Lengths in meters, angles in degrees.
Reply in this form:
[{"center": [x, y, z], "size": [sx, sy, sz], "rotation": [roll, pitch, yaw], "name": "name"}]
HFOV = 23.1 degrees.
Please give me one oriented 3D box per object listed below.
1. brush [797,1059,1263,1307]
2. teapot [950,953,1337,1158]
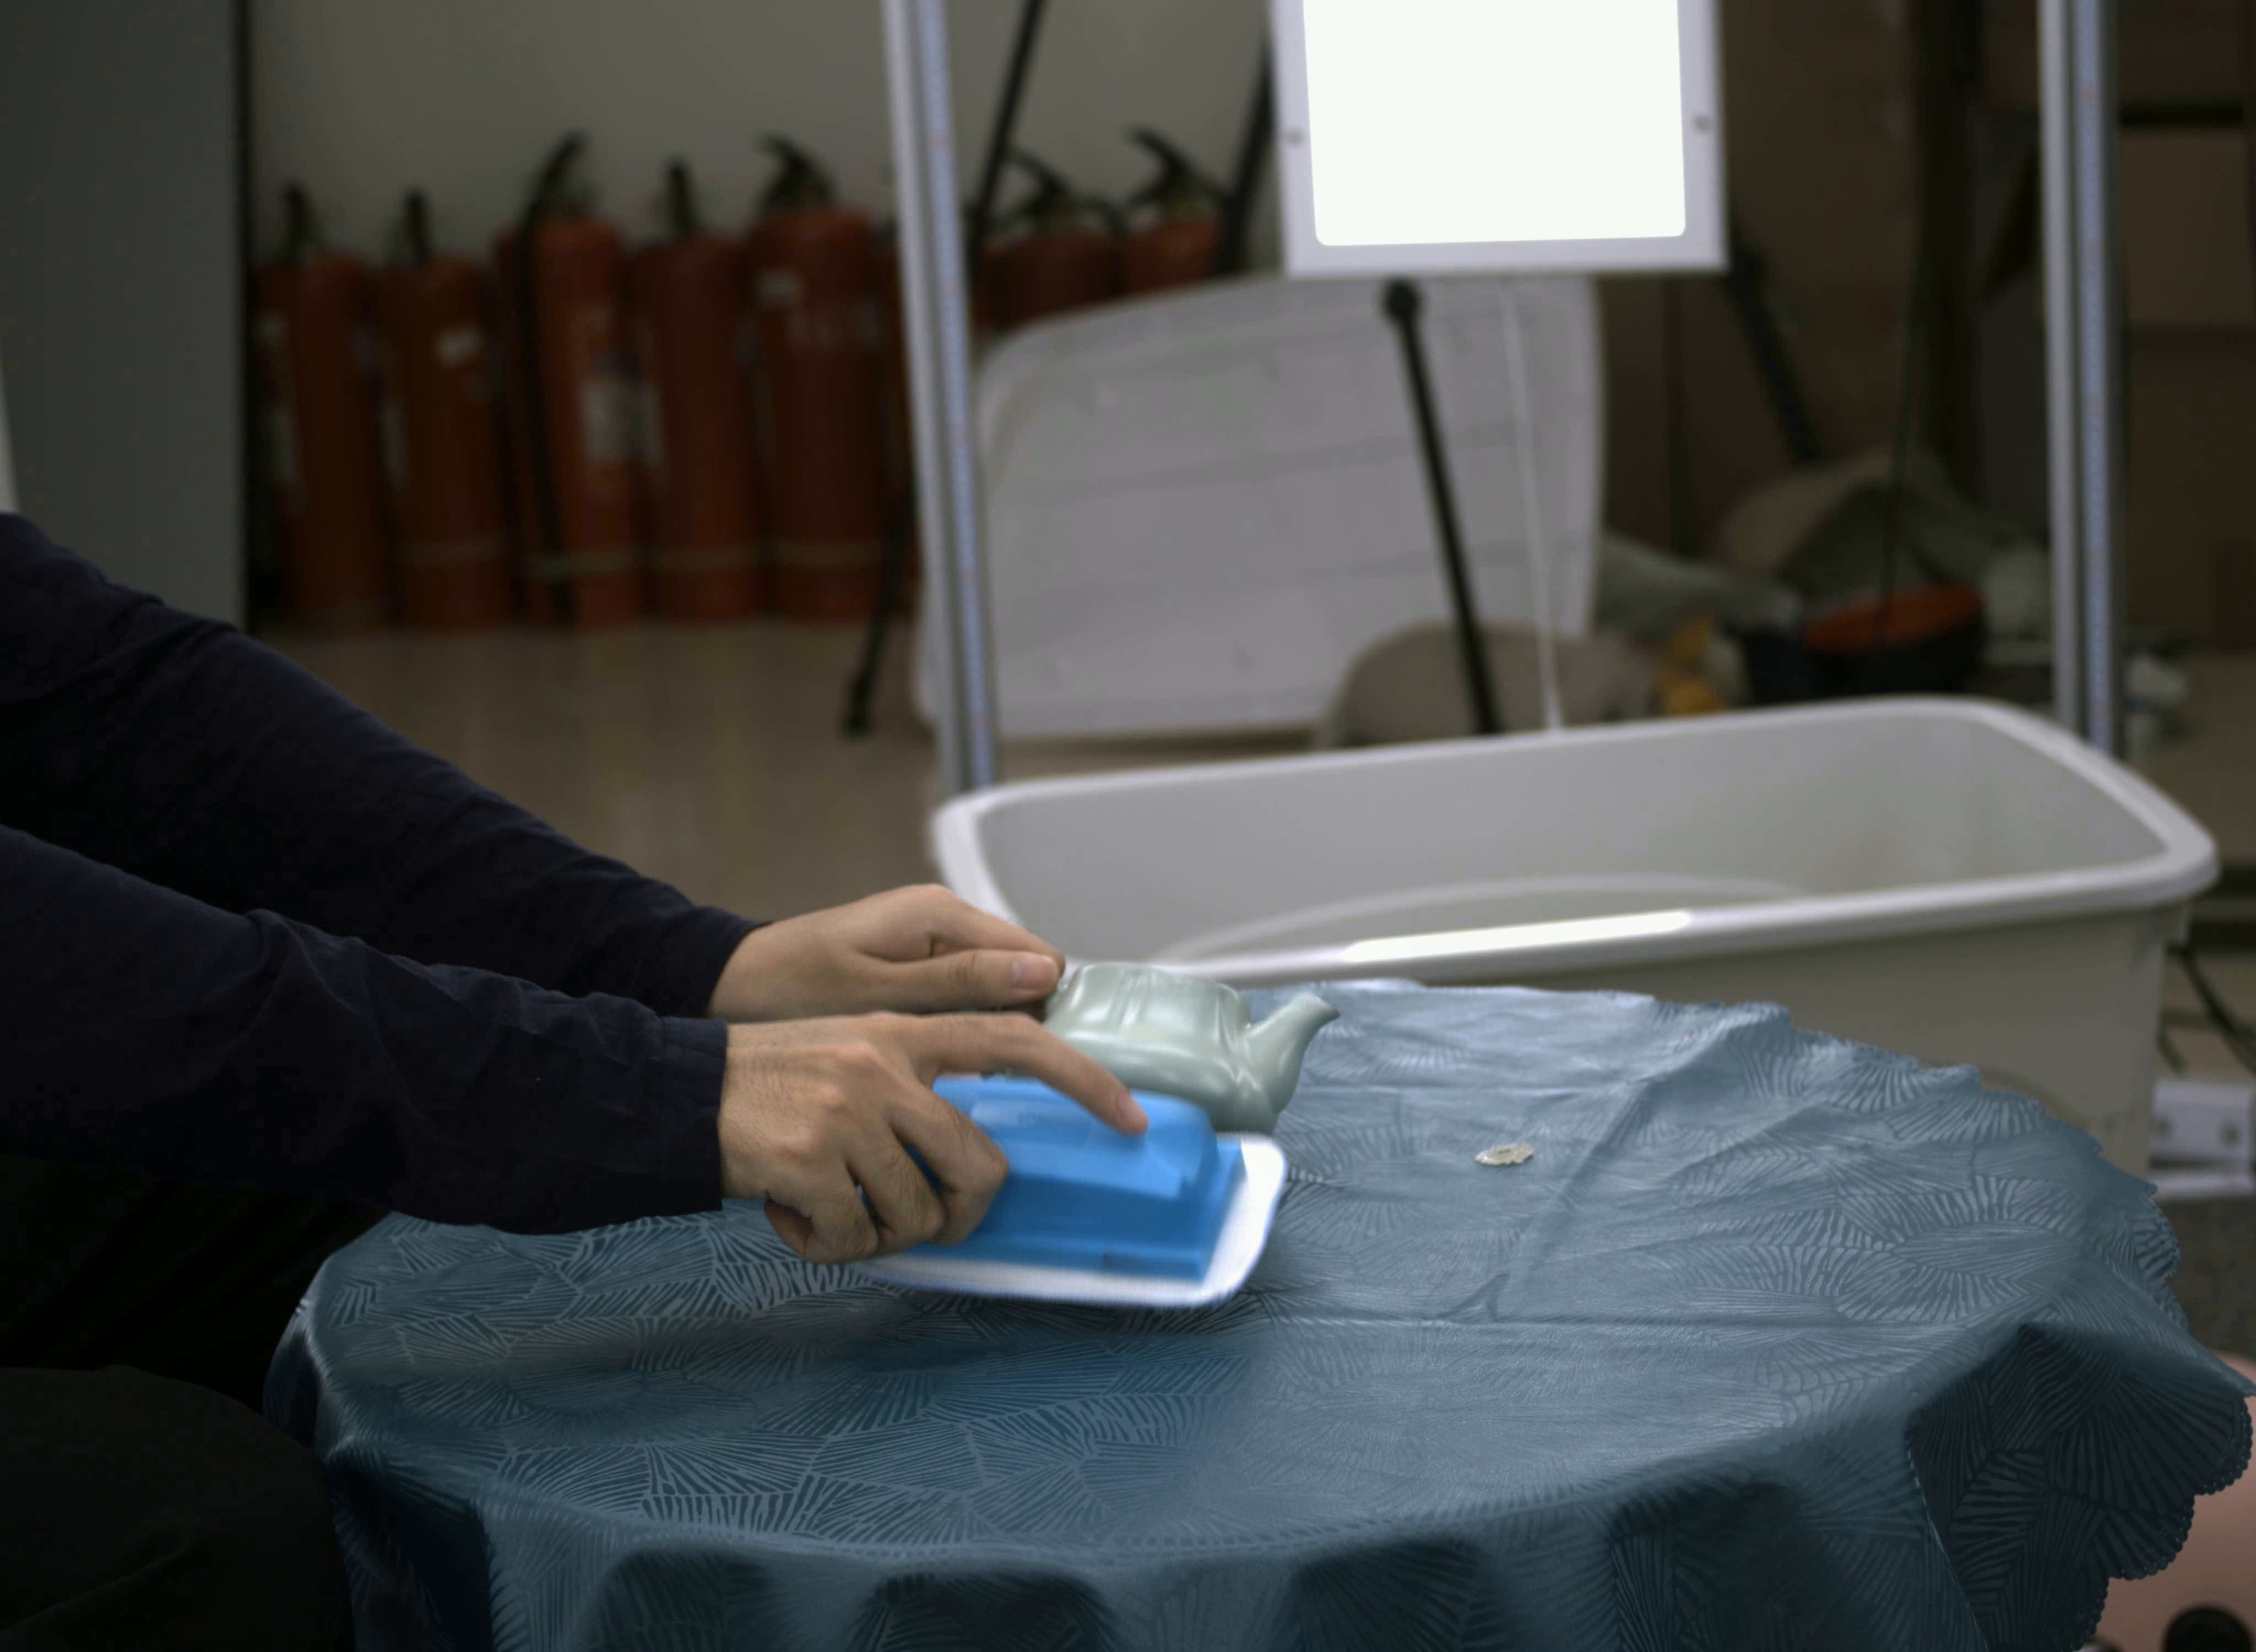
[{"center": [-0.032, 0.112, 1.773], "size": [0.146, 0.056, 0.082], "rotation": [8, 36, 20], "name": "brush"}, {"center": [0.002, 0.082, 1.909], "size": [0.138, 0.061, 0.095], "rotation": [9, -10, 18], "name": "teapot"}]
